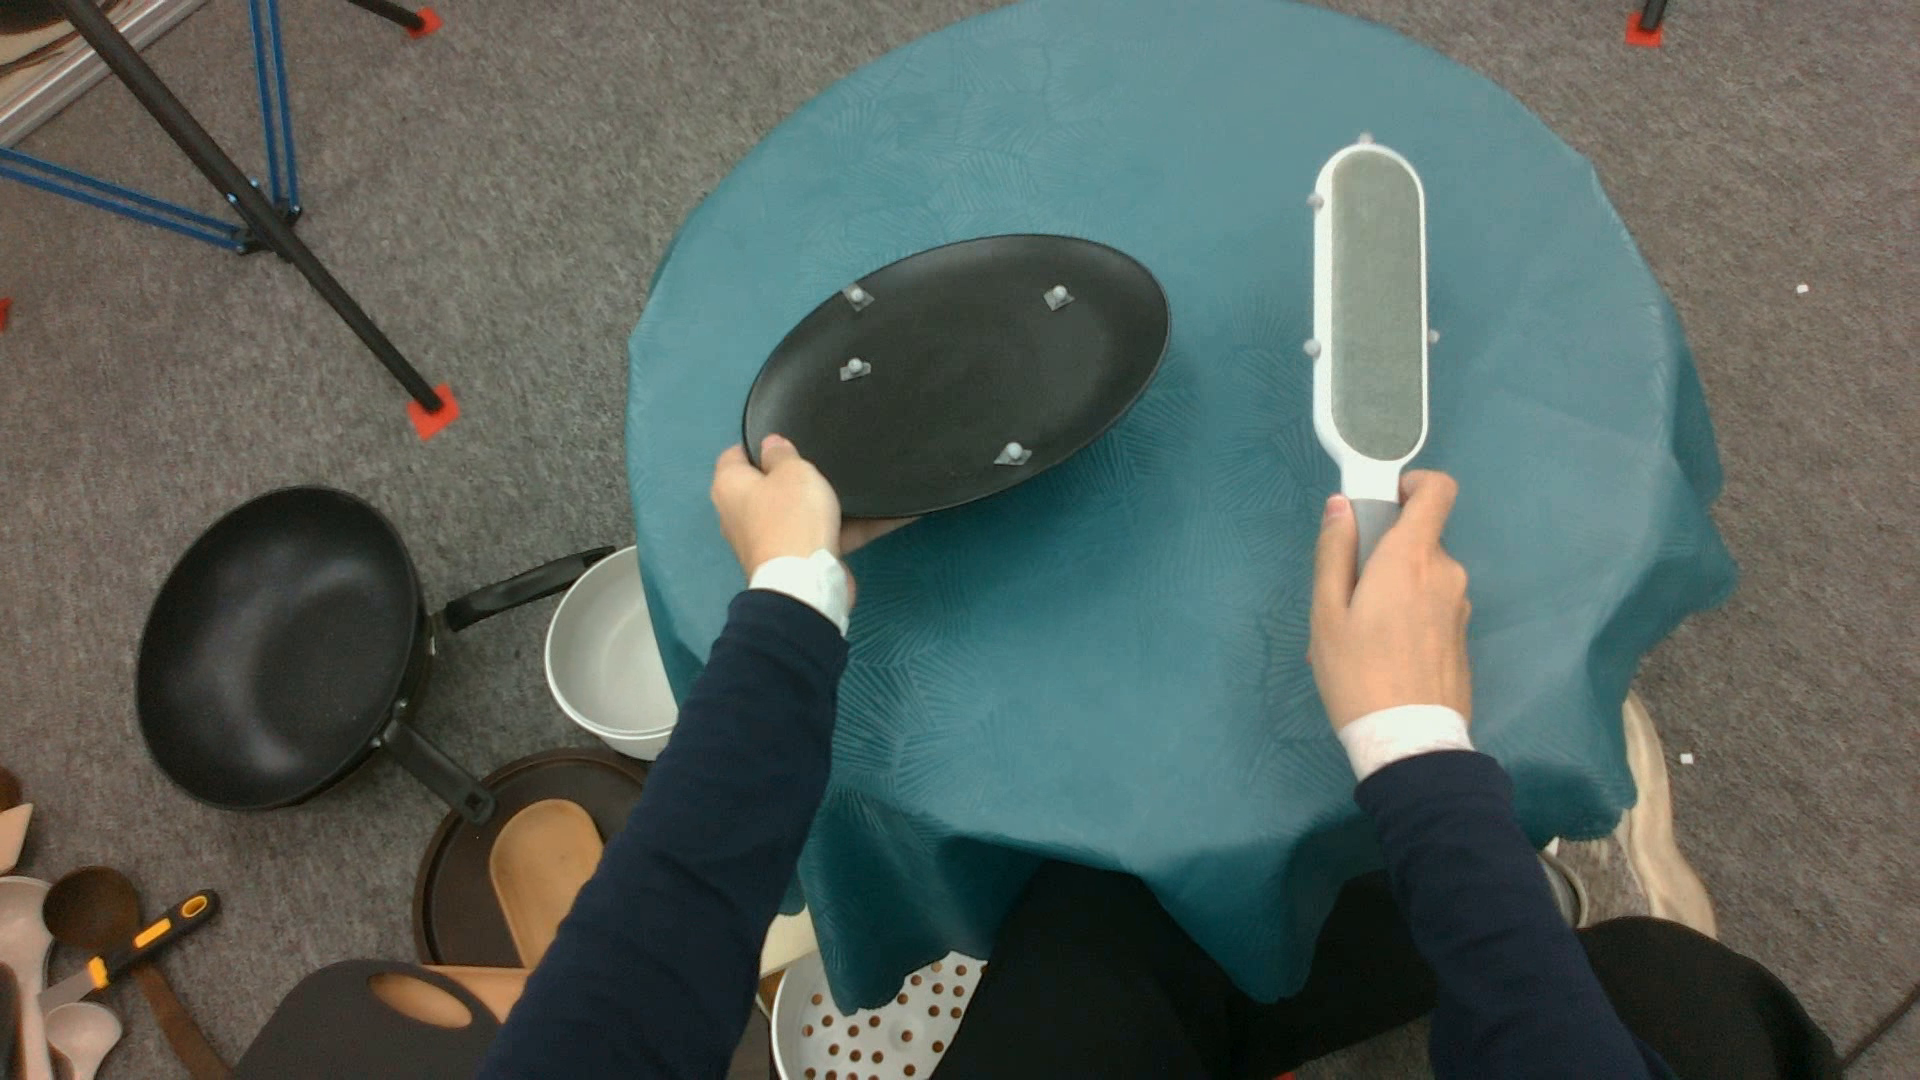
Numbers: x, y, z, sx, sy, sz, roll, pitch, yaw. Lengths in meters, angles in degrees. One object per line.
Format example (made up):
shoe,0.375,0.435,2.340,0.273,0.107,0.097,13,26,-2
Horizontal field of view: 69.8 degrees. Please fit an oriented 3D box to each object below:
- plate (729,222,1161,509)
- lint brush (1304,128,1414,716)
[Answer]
plate,-0.009,-0.097,0.750,0.244,0.023,0.245,-12,41,11
lint brush,0.196,-0.067,0.681,0.060,0.021,0.309,10,73,-17
